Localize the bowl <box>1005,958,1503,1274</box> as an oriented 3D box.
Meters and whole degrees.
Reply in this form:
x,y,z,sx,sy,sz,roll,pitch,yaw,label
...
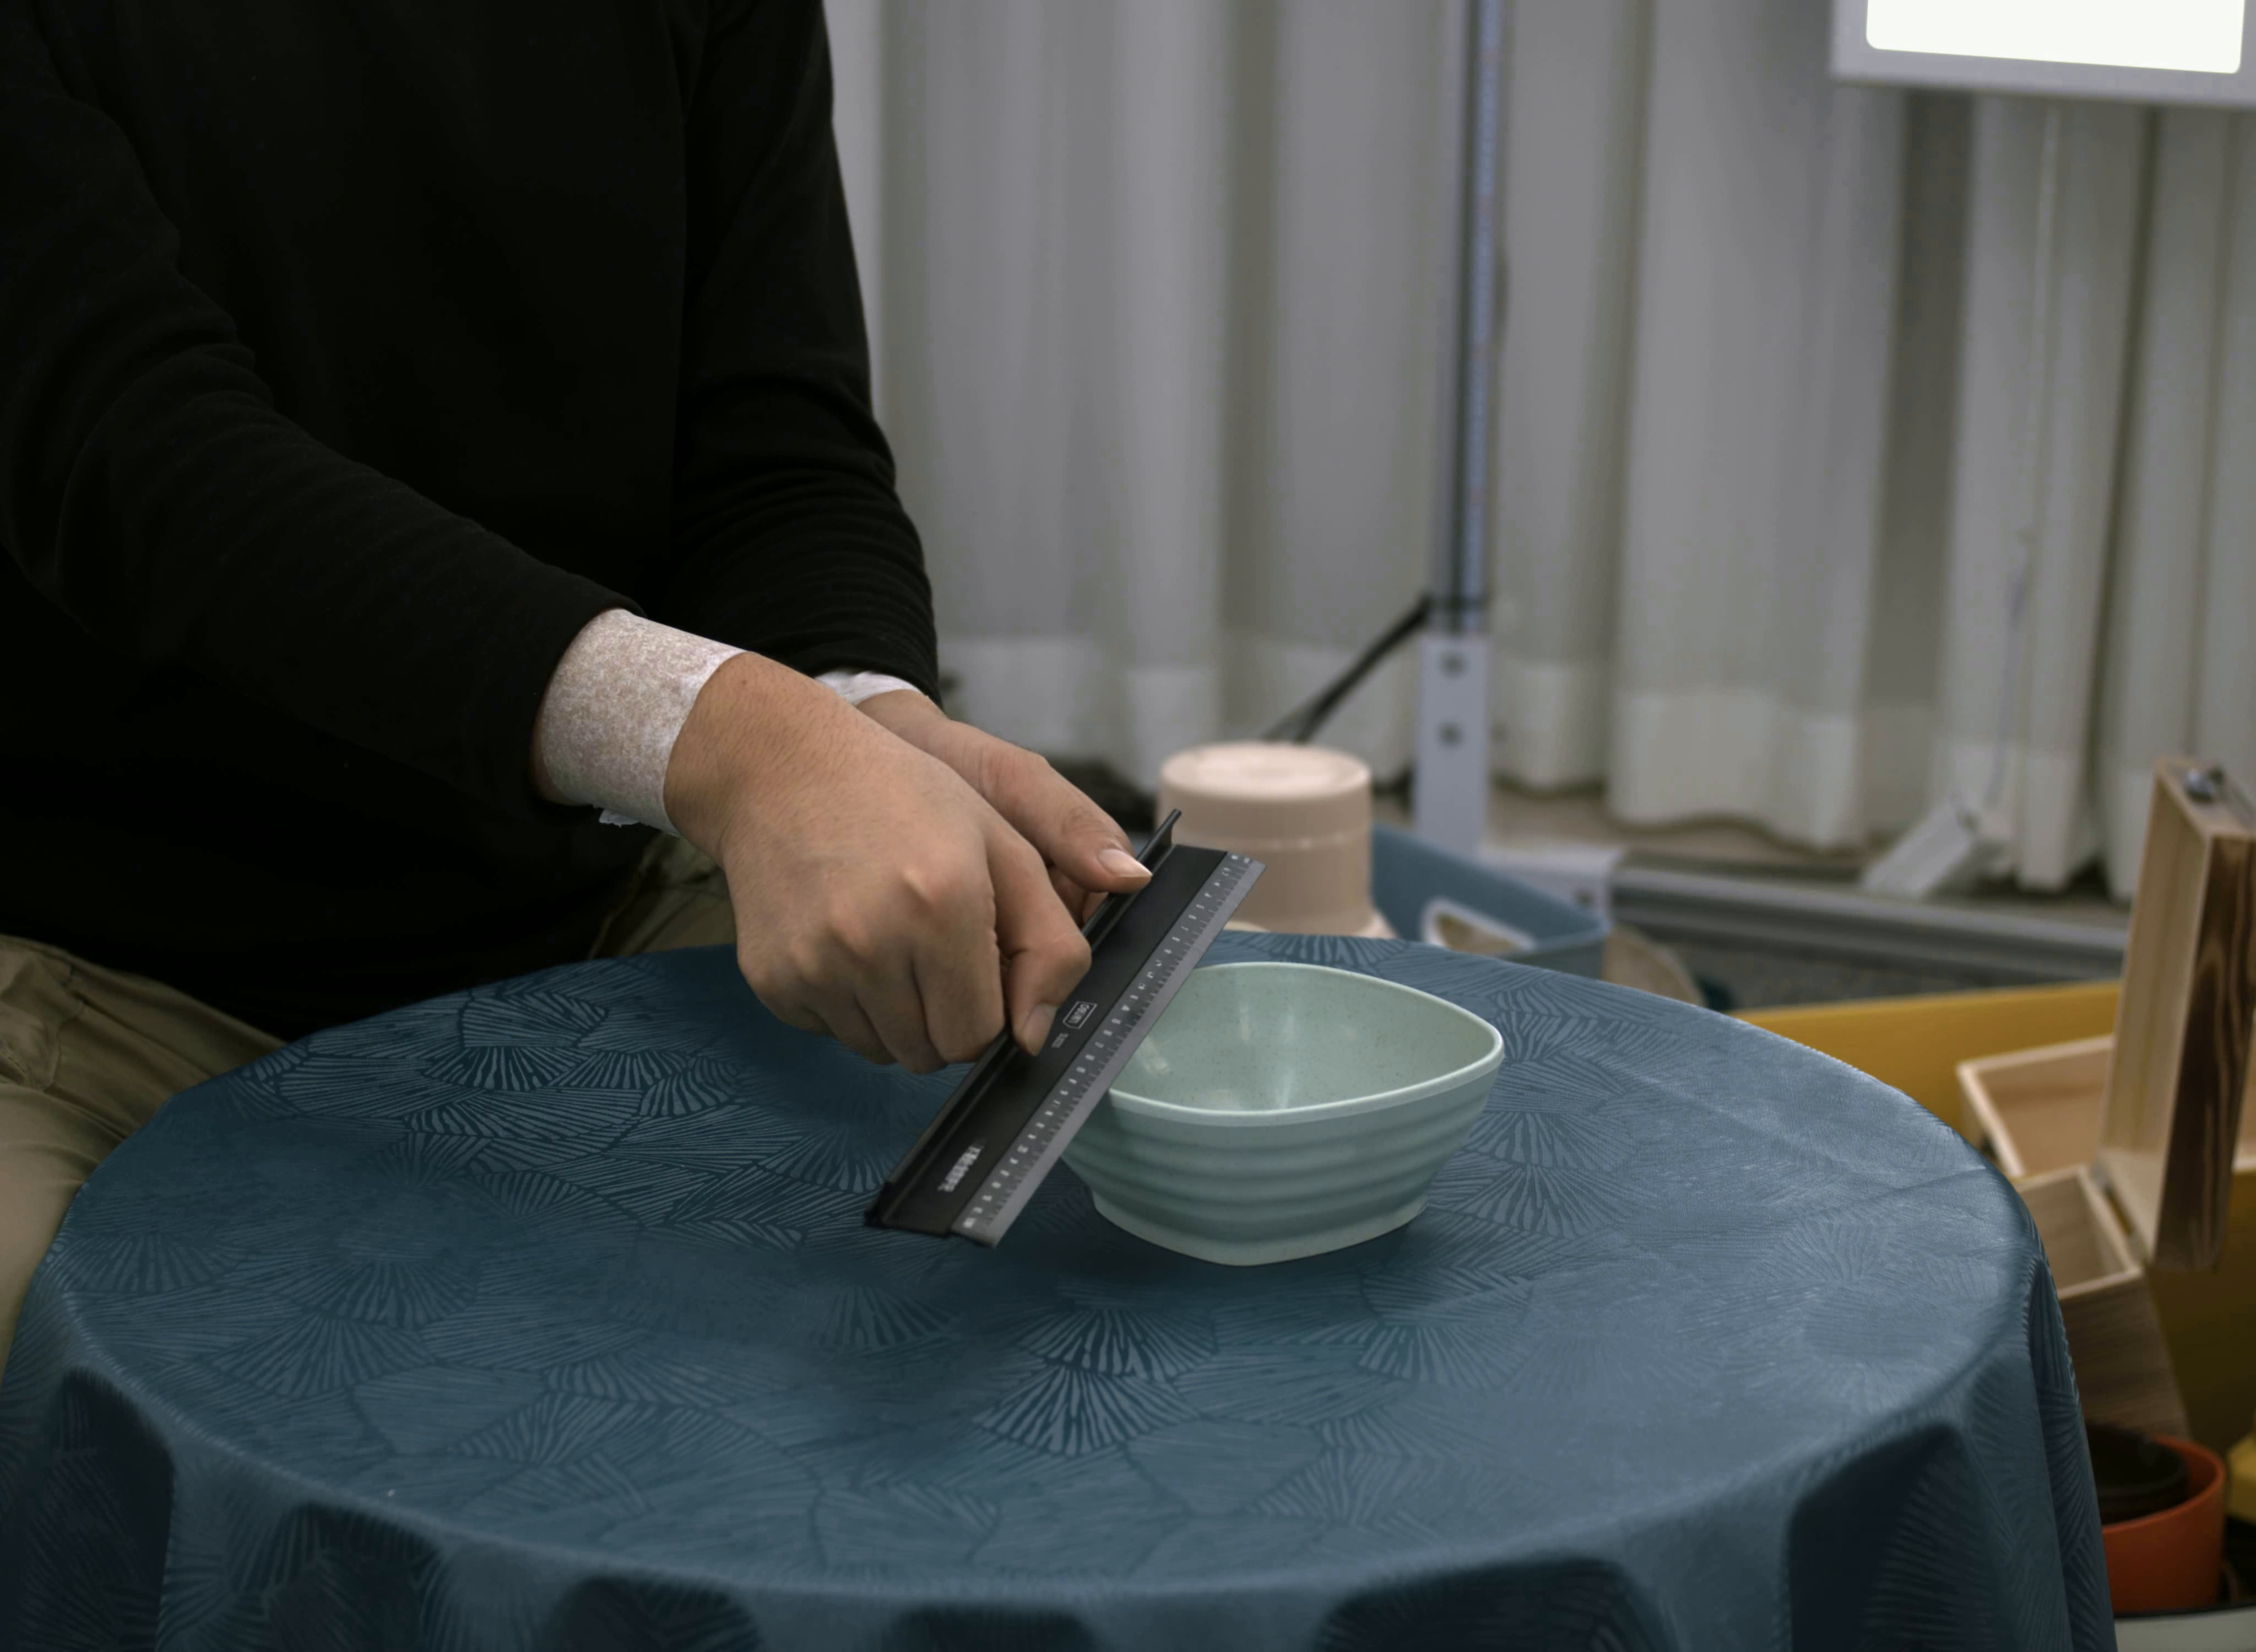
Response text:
x,y,z,sx,sy,sz,roll,pitch,yaw,label
0.038,0.091,1.596,0.151,0.059,0.150,1,17,0,bowl

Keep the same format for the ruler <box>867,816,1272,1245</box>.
x,y,z,sx,sy,sz,roll,pitch,yaw,label
-0.012,0.055,1.570,0.039,0.017,0.312,12,22,13,ruler
